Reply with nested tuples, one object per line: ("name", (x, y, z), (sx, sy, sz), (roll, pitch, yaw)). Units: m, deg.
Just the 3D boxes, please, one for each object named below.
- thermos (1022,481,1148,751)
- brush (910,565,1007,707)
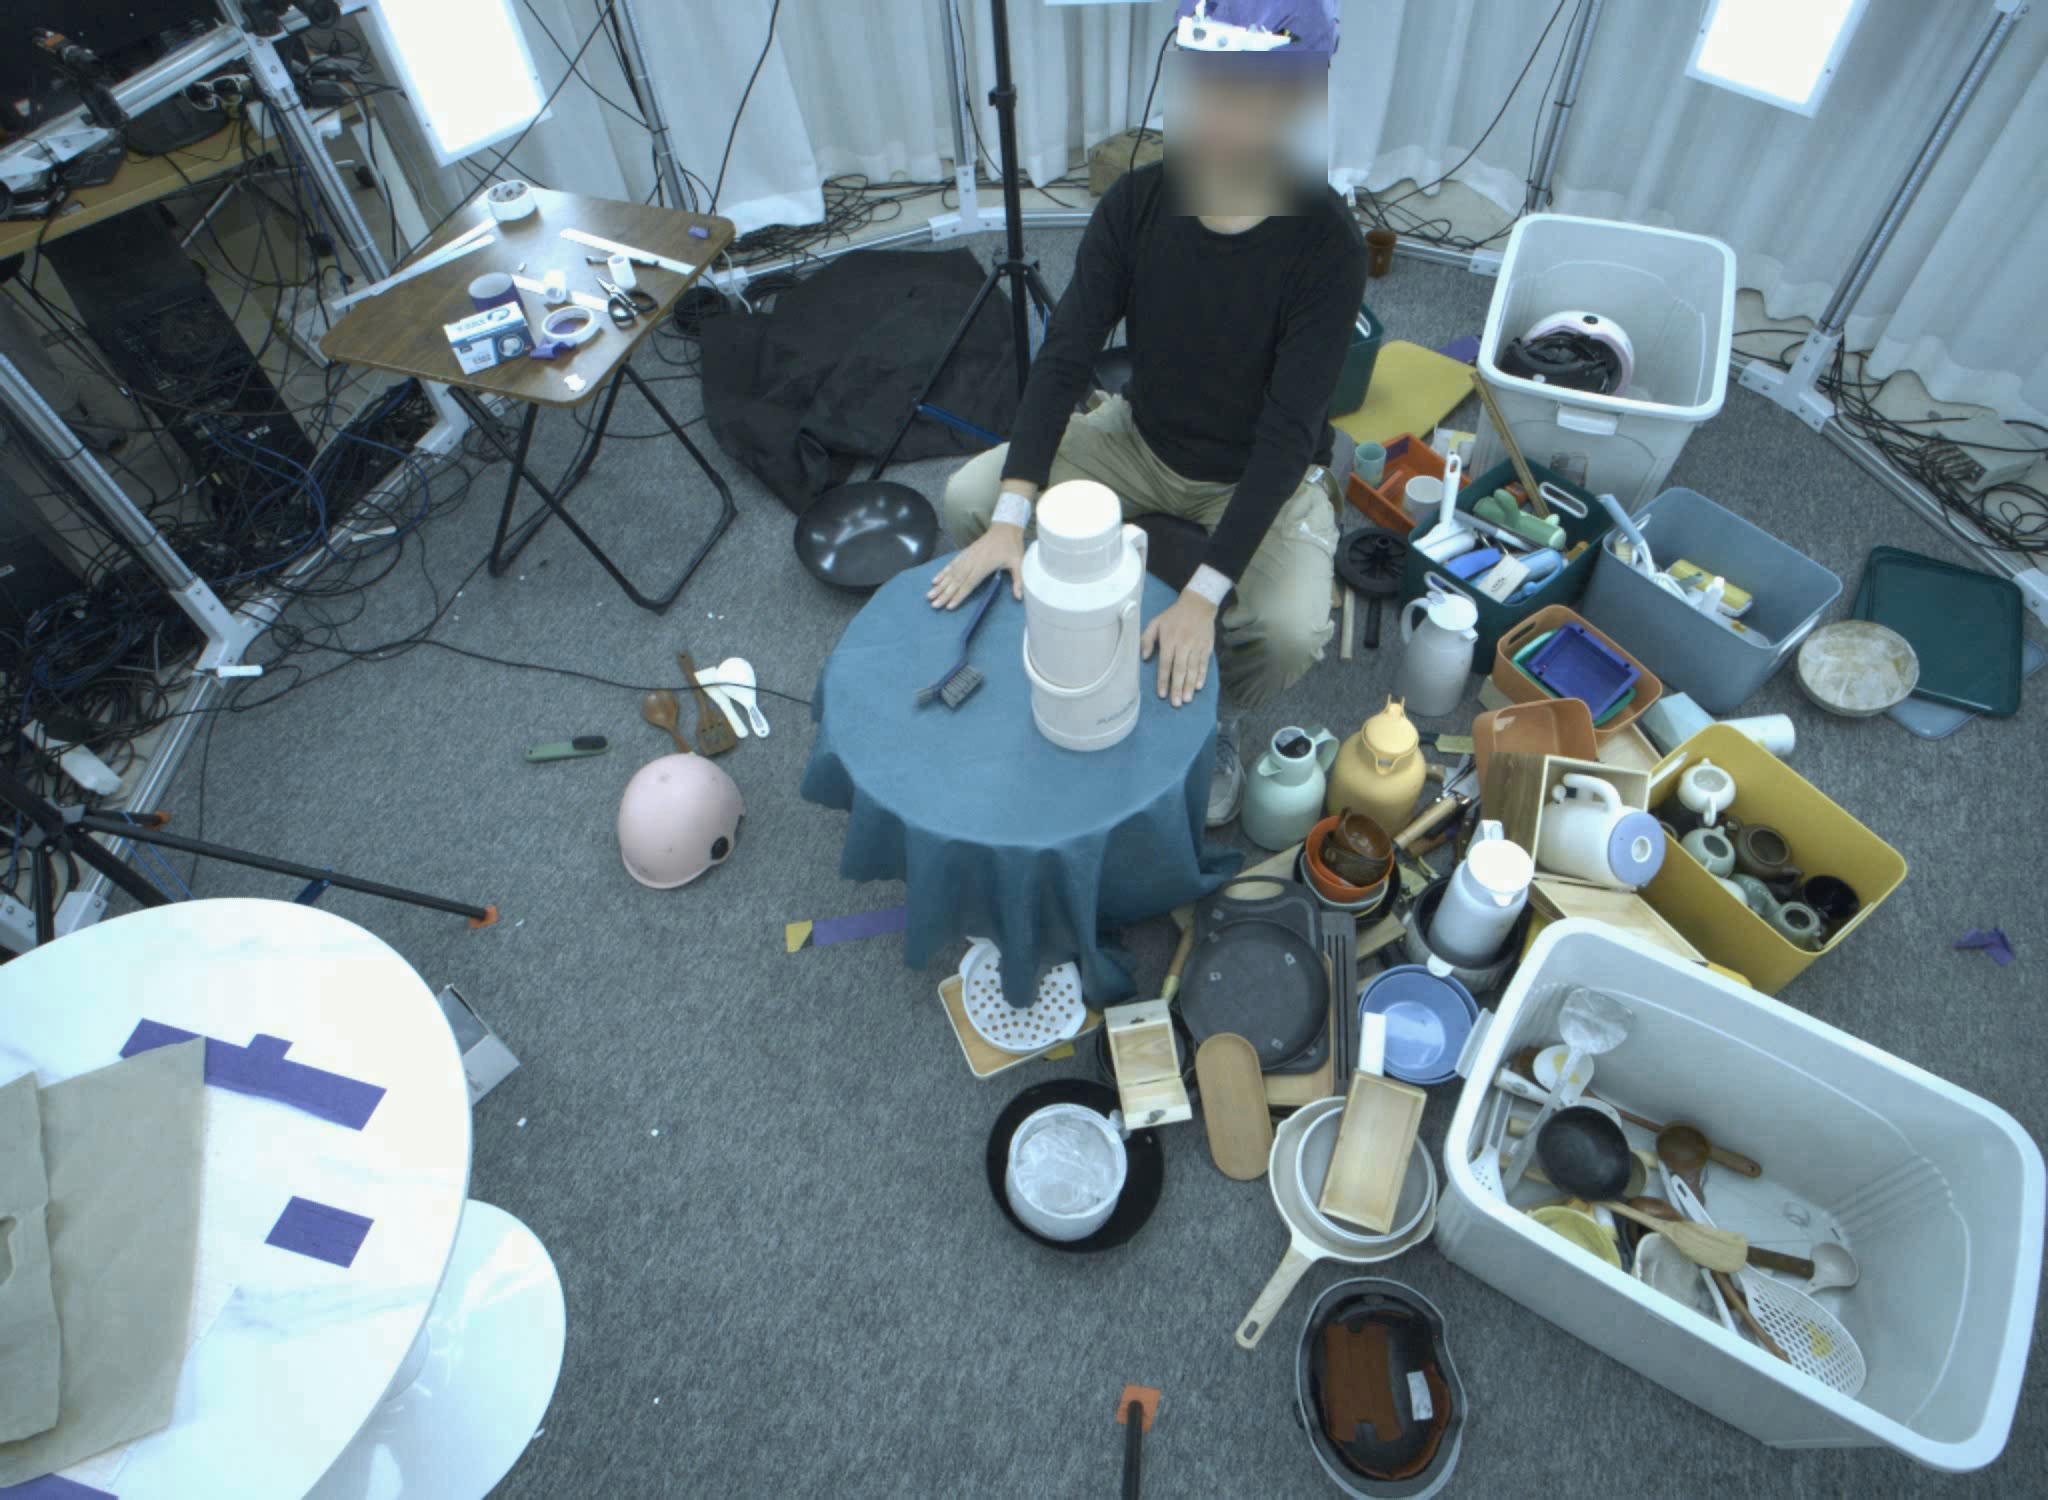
("thermos", (0.092, -0.185, 1.671), (0.172, 0.411, 0.208), (36, 64, 27))
("brush", (-0.094, -0.180, 1.898), (0.095, 0.034, 0.272), (11, 58, 9))
